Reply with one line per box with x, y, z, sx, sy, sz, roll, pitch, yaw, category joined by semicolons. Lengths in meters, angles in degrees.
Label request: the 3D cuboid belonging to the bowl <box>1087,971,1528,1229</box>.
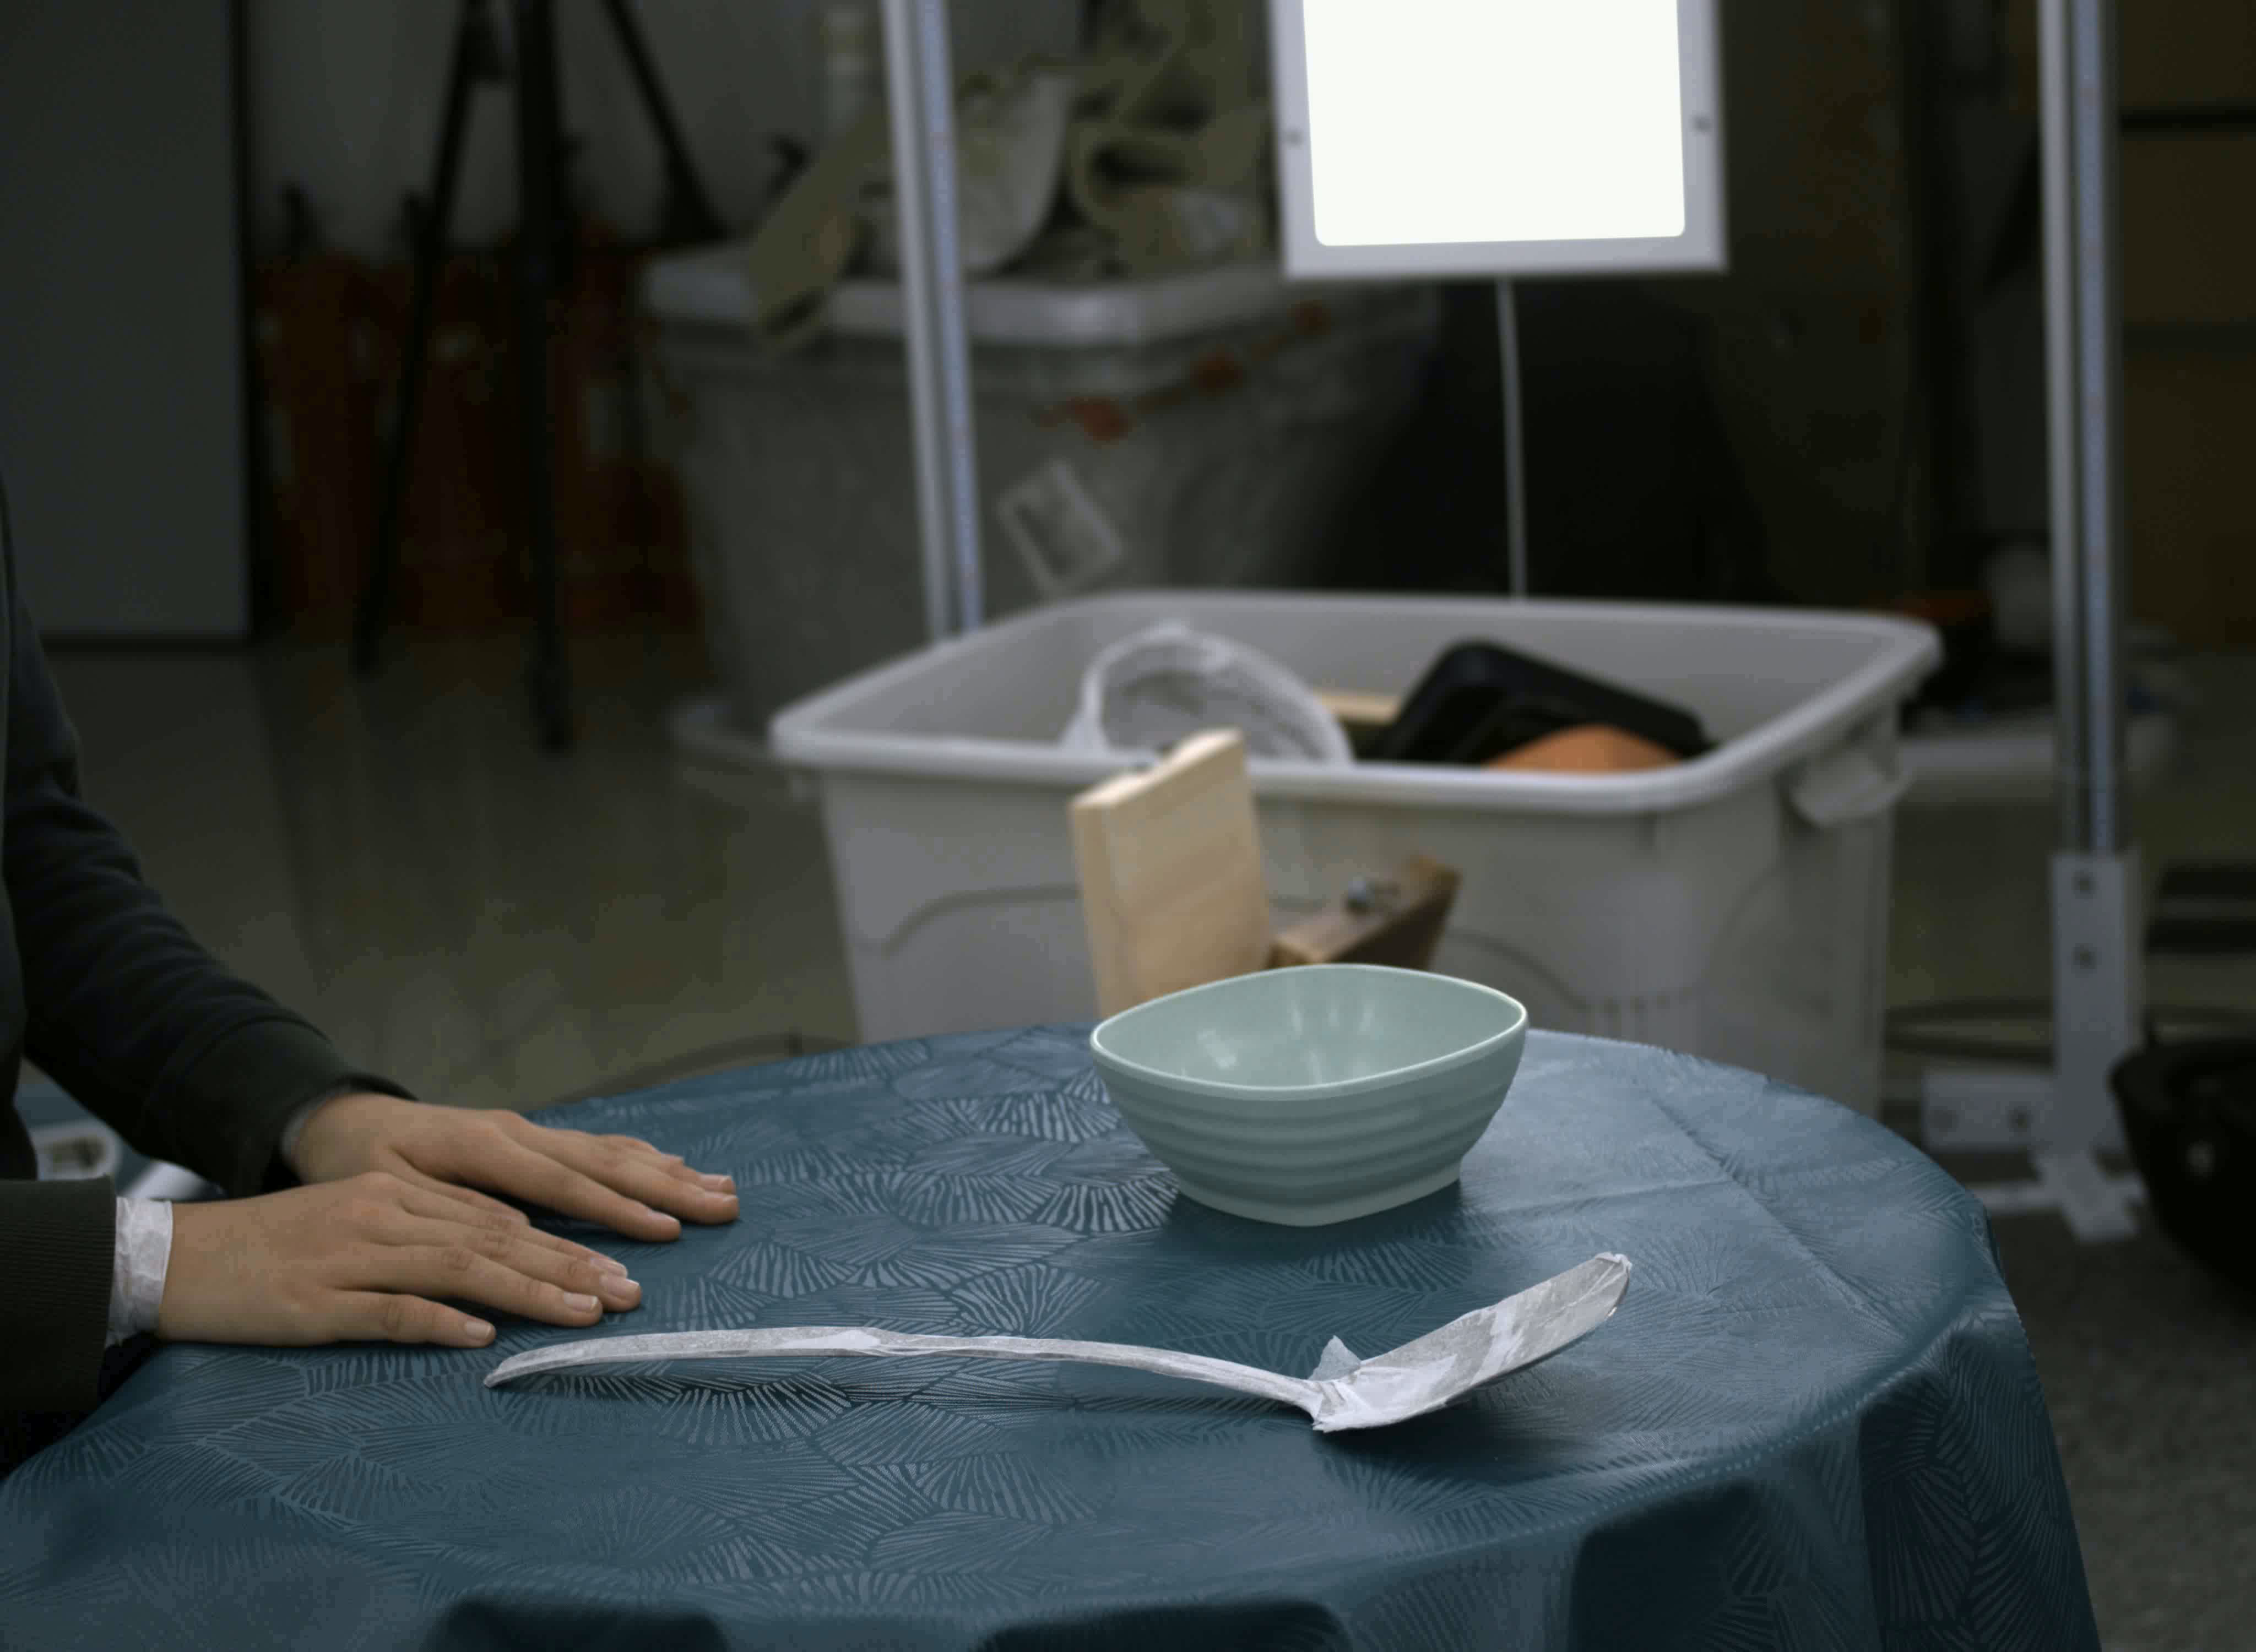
0.062;0.096;1.883;0.151;0.059;0.151;-2;13;-1;bowl

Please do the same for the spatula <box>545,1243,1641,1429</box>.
-0.021;0.157;1.700;0.370;0.045;0.097;1;17;21;spatula
